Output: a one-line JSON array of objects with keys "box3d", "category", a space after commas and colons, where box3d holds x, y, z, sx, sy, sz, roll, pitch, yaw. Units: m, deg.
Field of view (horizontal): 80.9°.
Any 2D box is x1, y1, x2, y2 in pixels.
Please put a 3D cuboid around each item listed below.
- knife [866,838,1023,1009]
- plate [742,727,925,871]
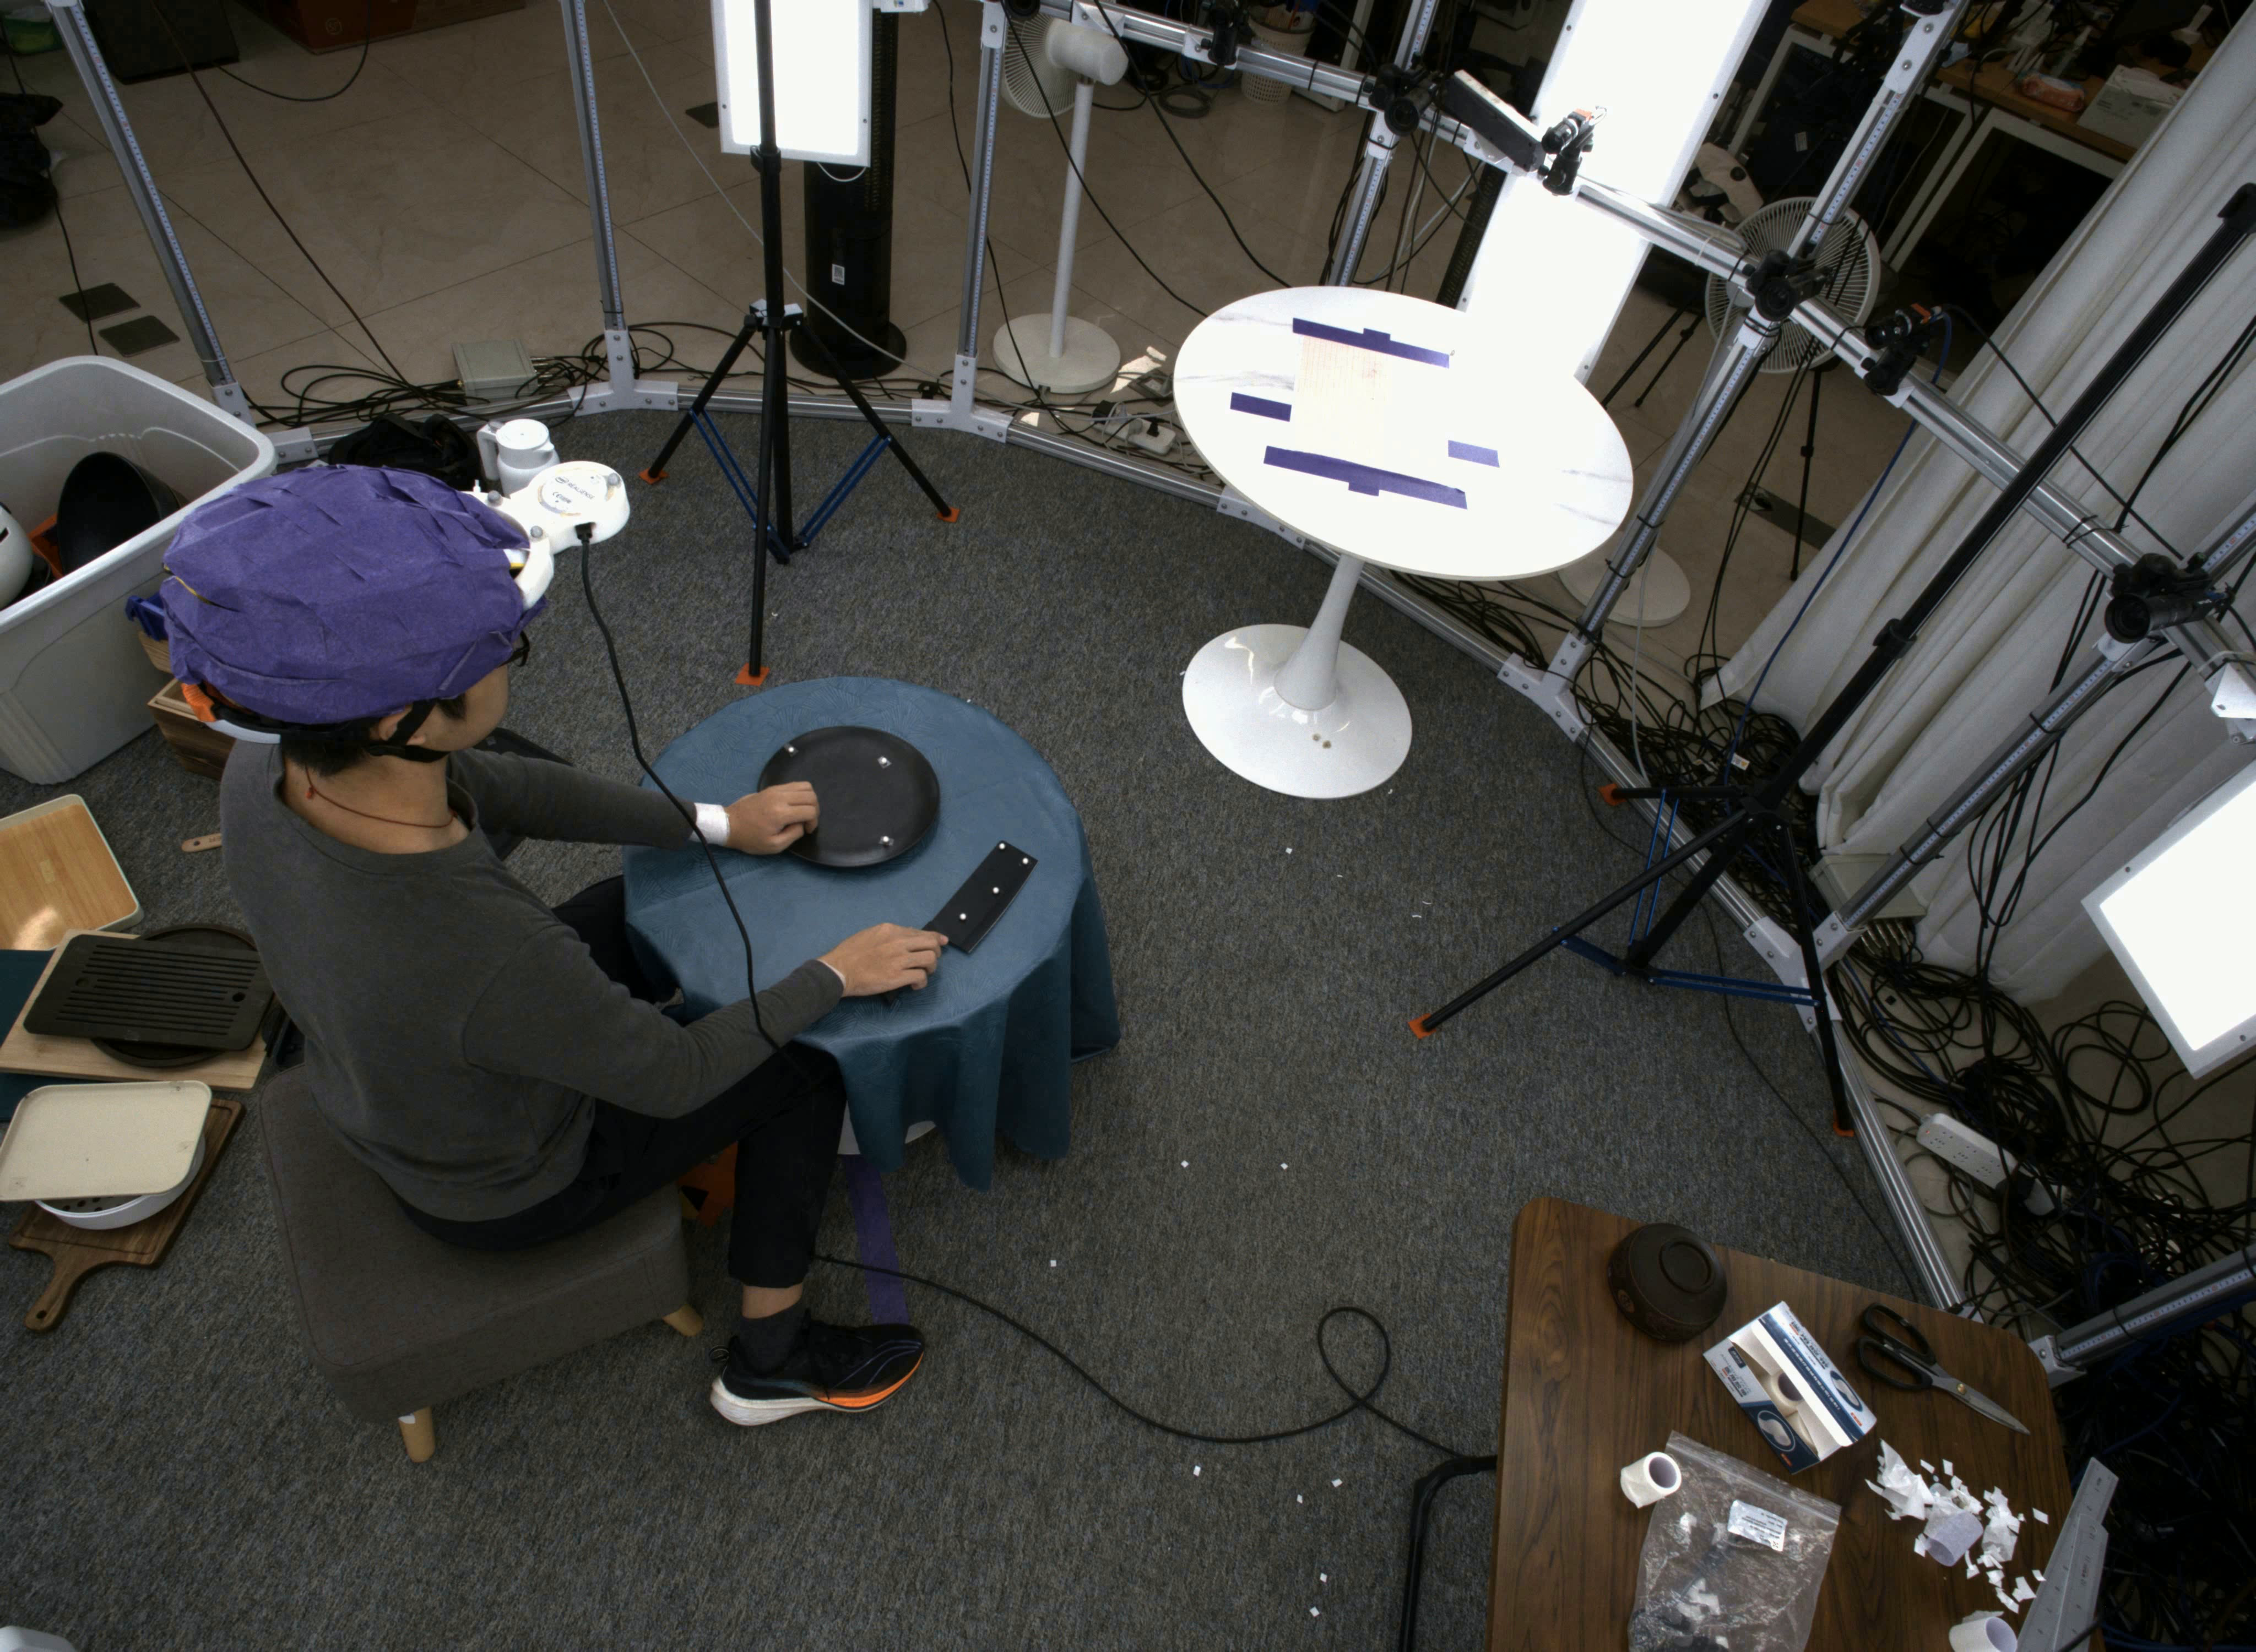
[{"box3d": [-0.237, 0.123, 1.684, 0.080, 0.021, 0.301, 34, 52, 8], "category": "knife"}, {"box3d": [-0.396, -0.036, 1.755, 0.244, 0.024, 0.240, 8, 53, -9], "category": "plate"}]
